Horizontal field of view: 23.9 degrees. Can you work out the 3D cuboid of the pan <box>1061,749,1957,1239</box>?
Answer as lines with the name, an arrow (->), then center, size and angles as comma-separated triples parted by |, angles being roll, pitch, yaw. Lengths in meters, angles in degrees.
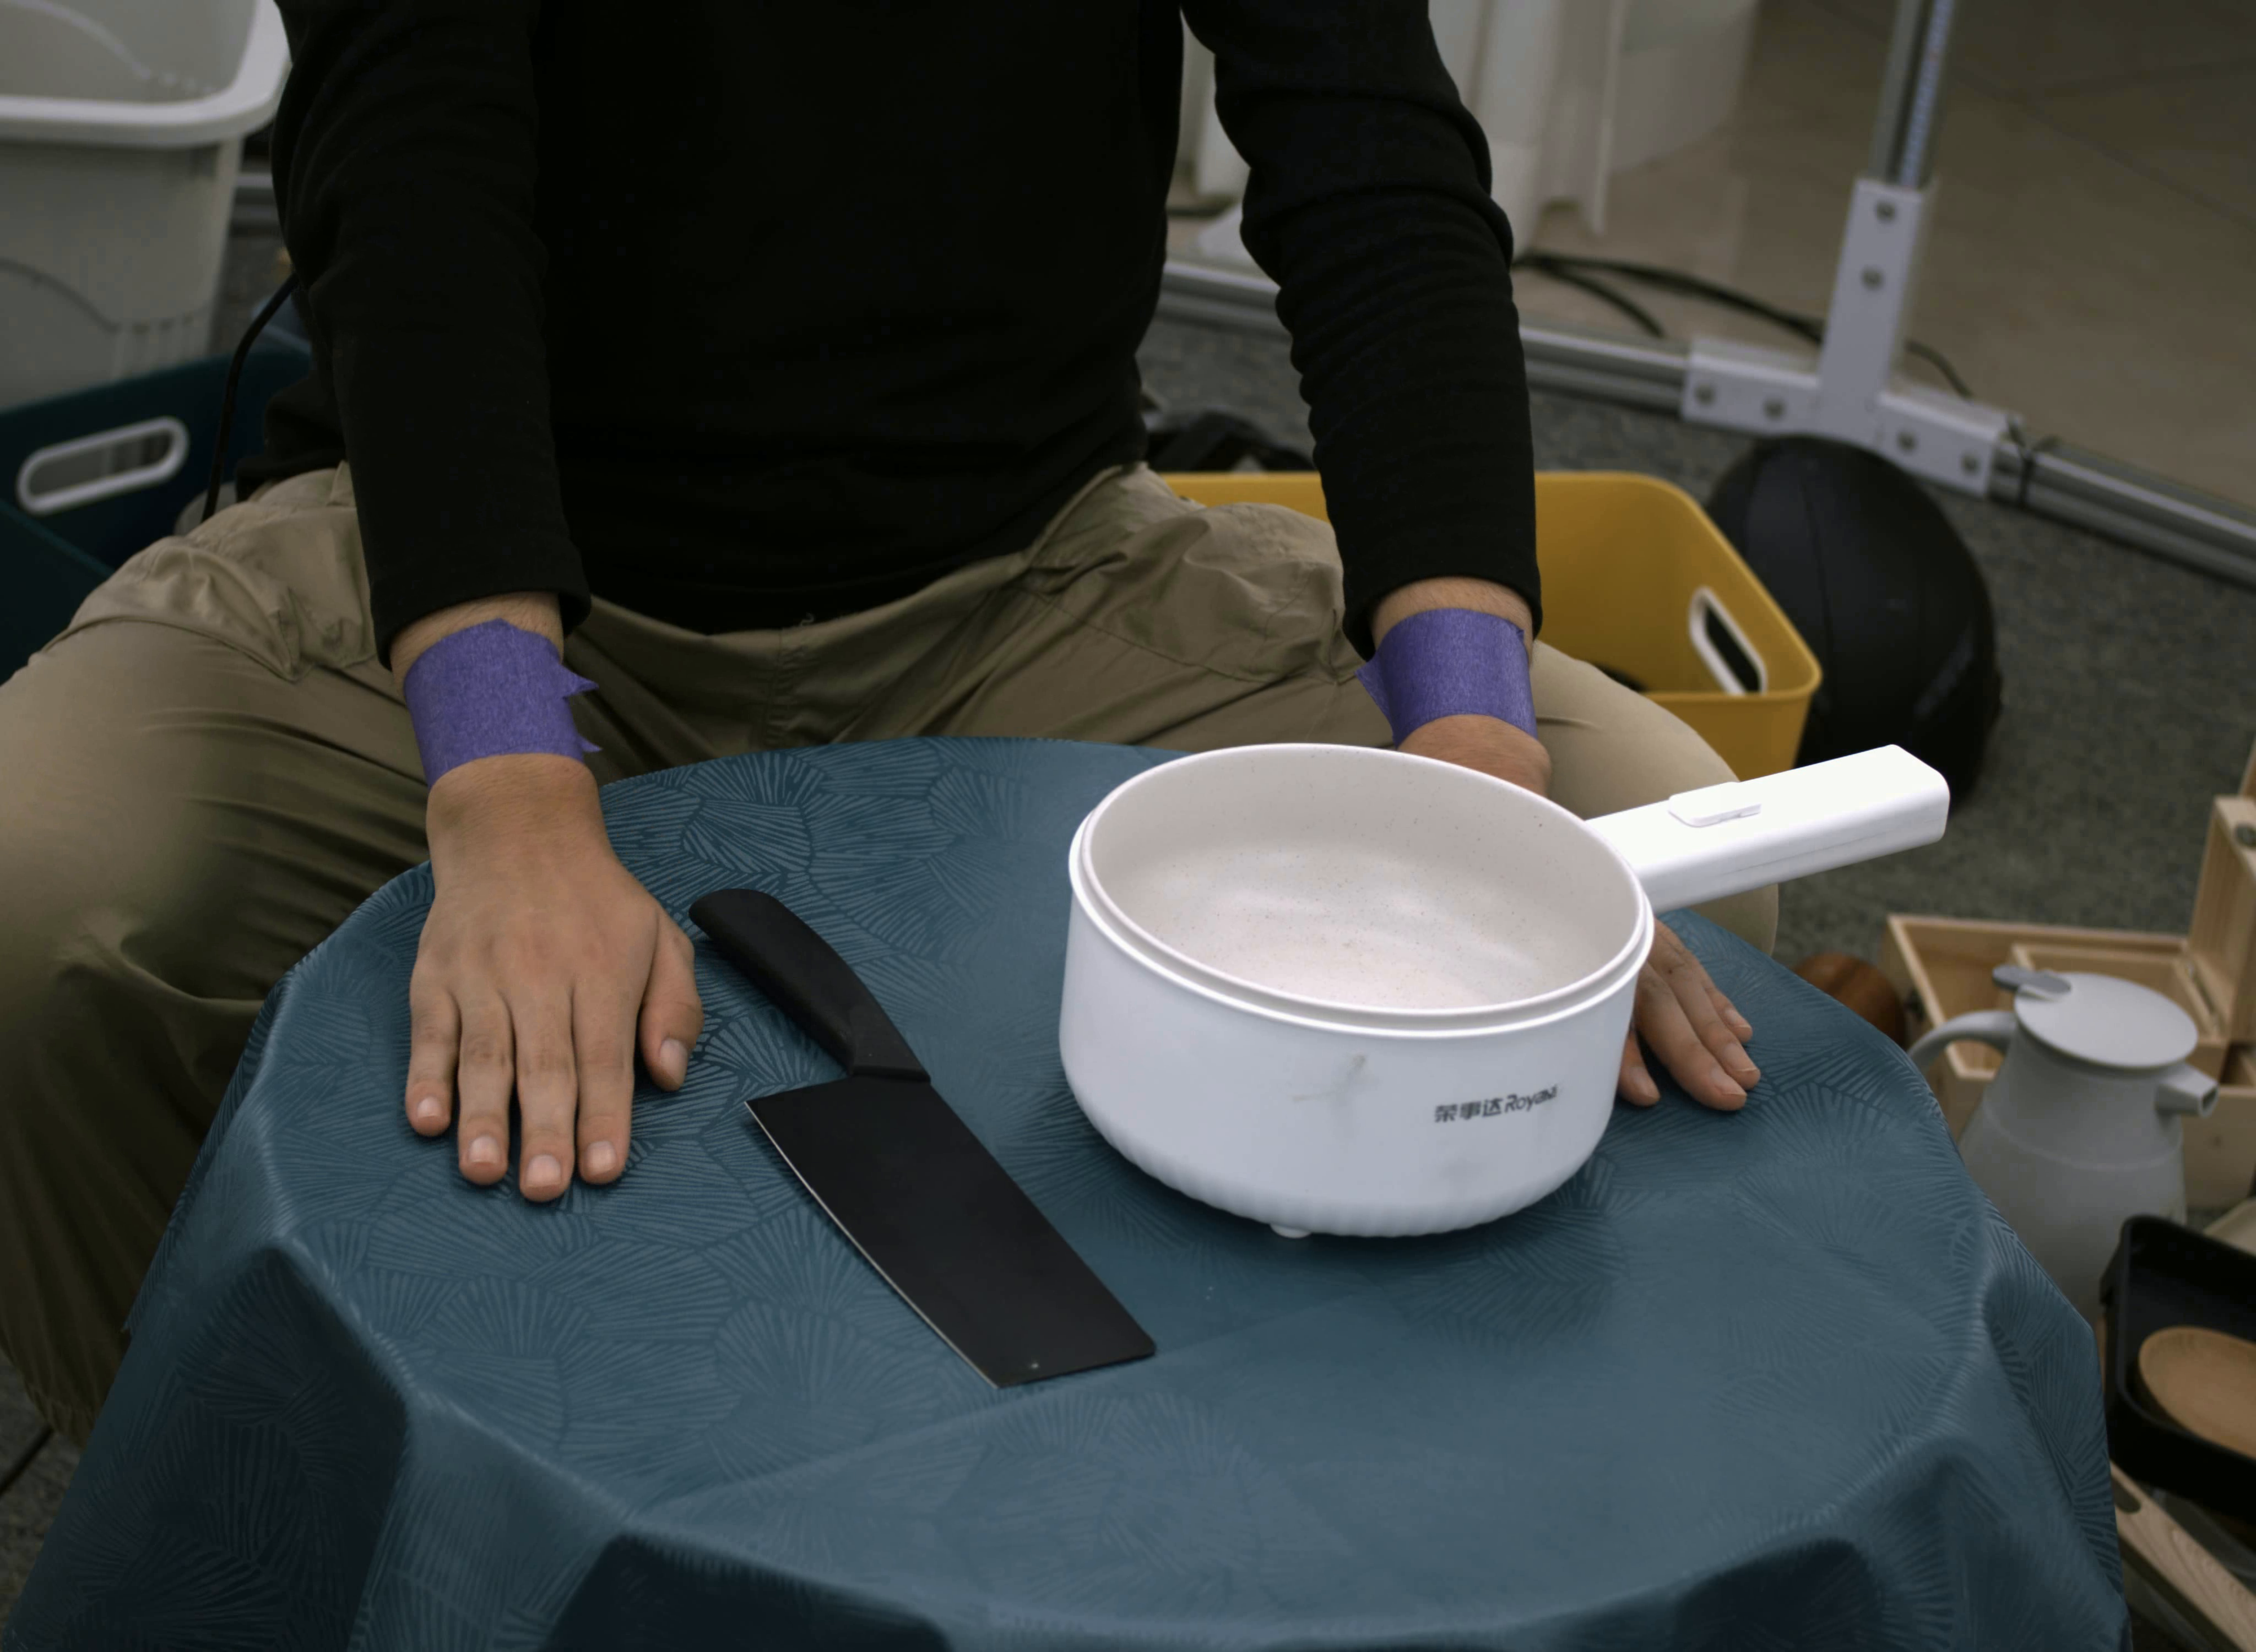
pan -> 0.139, 0.050, 1.877 | 0.352, 0.102, 0.203 | -10, 30, -32

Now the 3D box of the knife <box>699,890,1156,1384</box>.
knife -> -0.083, 0.102, 1.814 | 0.080, 0.021, 0.305 | -6, 31, -23
